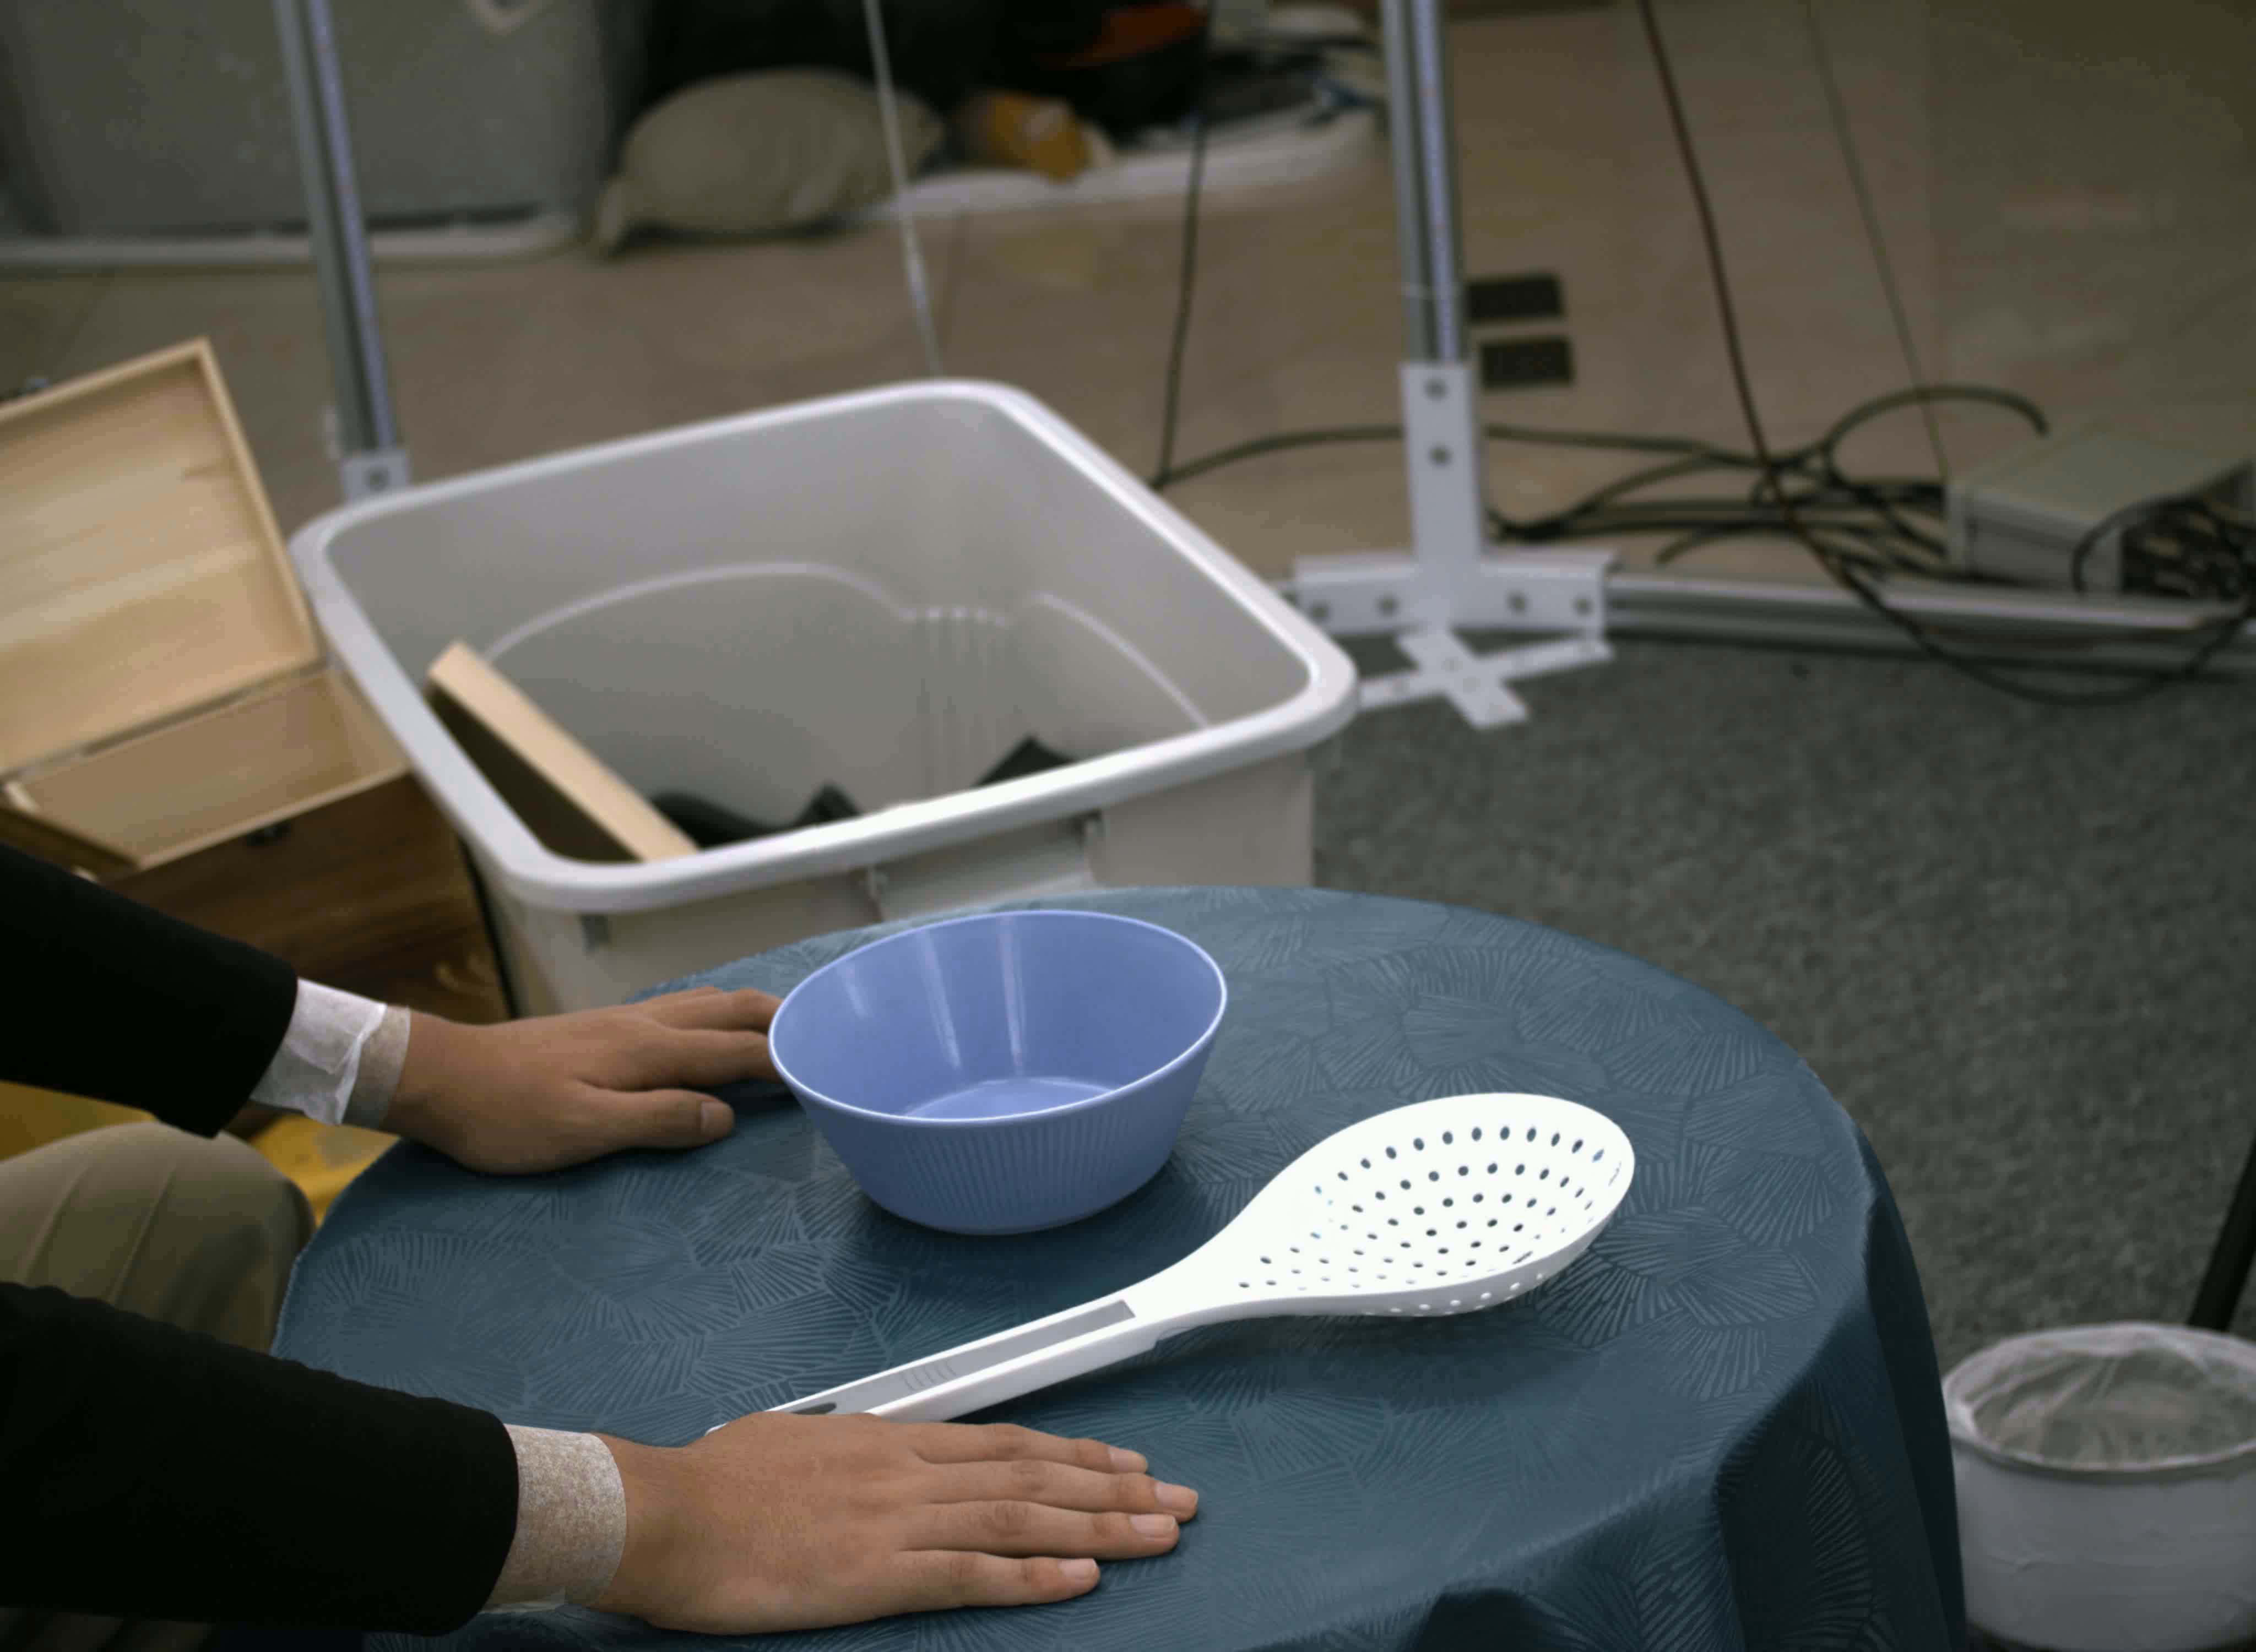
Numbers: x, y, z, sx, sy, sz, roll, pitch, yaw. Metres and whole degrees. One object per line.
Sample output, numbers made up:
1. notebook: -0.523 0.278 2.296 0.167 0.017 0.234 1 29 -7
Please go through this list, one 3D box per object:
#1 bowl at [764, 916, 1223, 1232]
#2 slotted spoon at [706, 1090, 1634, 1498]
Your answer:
1. bowl: -0.047 0.100 2.160 0.176 0.071 0.173 -6 25 3
2. slotted spoon: 0.017 0.171 2.021 0.348 0.046 0.134 -15 26 -14
